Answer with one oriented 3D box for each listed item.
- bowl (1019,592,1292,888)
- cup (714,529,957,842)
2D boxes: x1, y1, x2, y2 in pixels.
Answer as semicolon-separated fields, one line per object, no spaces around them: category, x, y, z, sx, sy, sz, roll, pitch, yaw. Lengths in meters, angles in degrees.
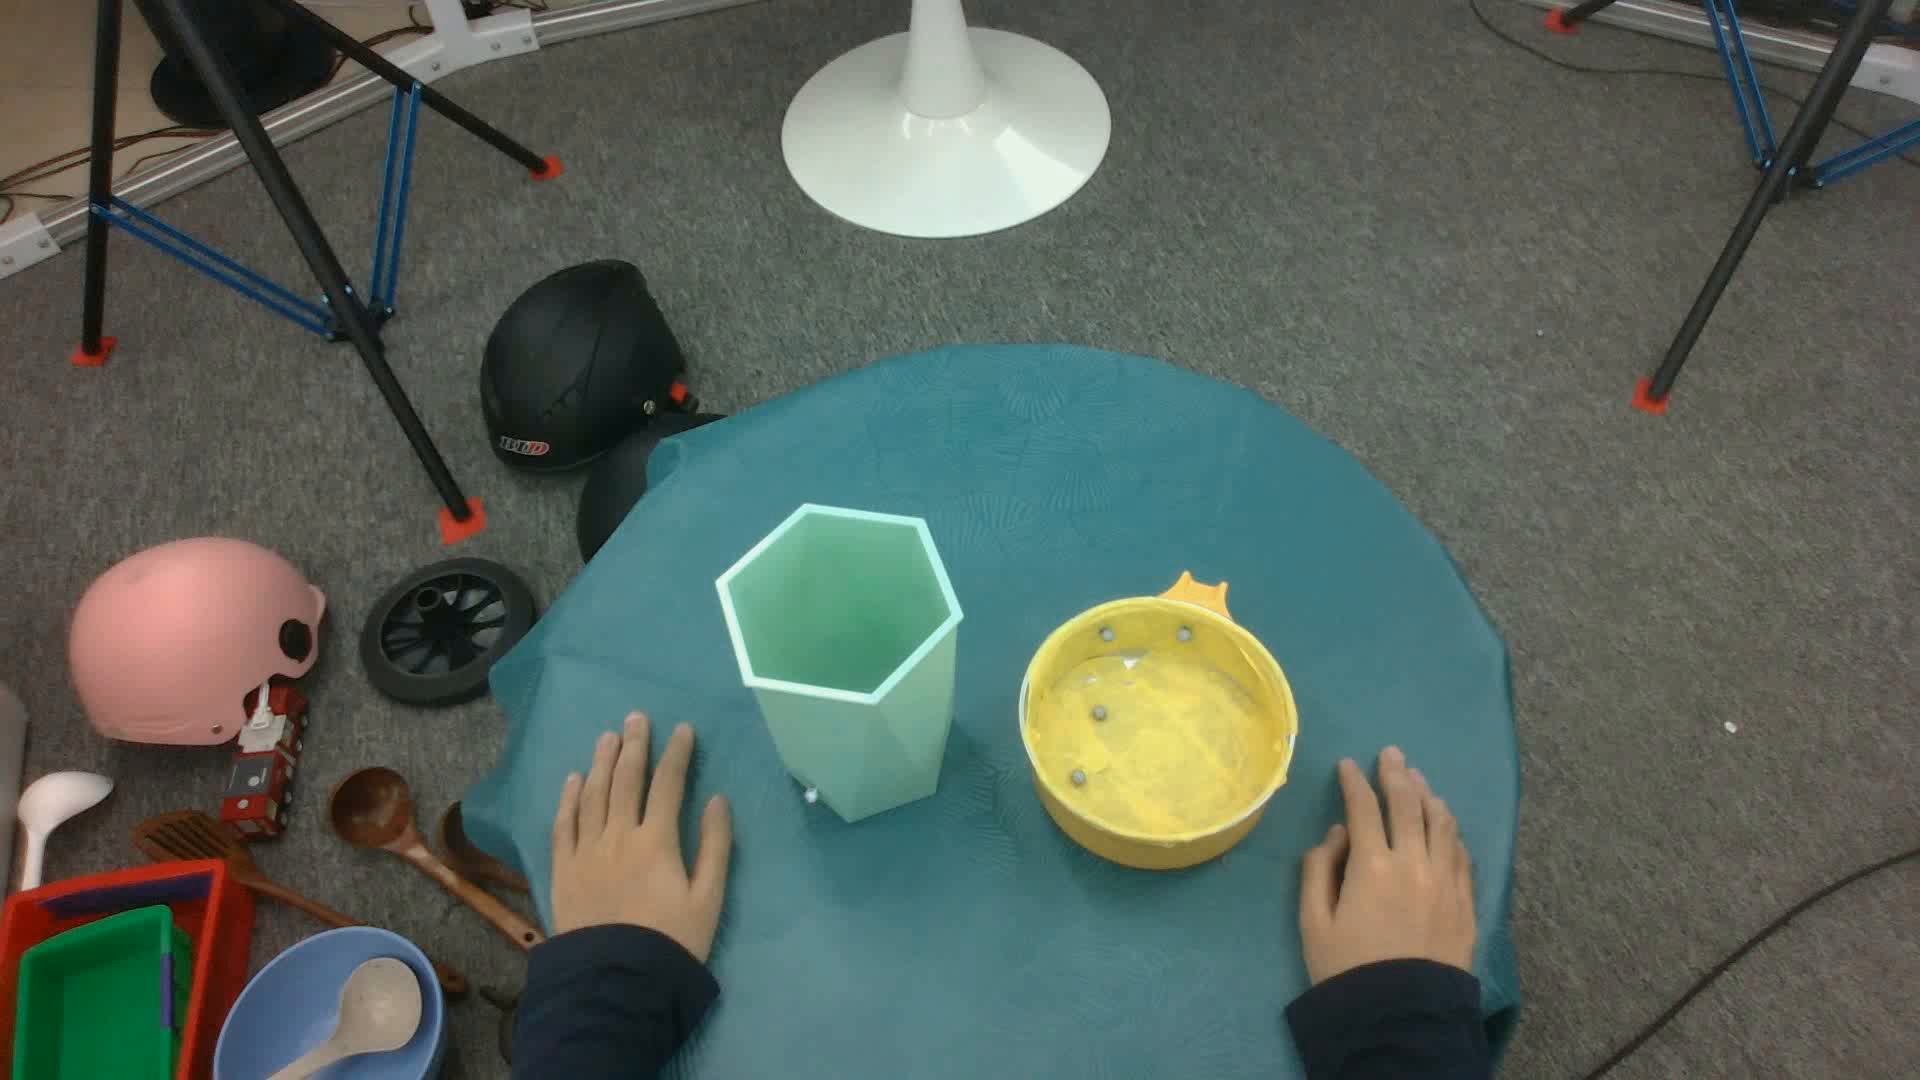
bowl;0.116;0.116;0.805;0.153;0.074;0.180;13;57;13
cup;-0.060;0.089;0.777;0.131;0.162;0.116;5;55;8
